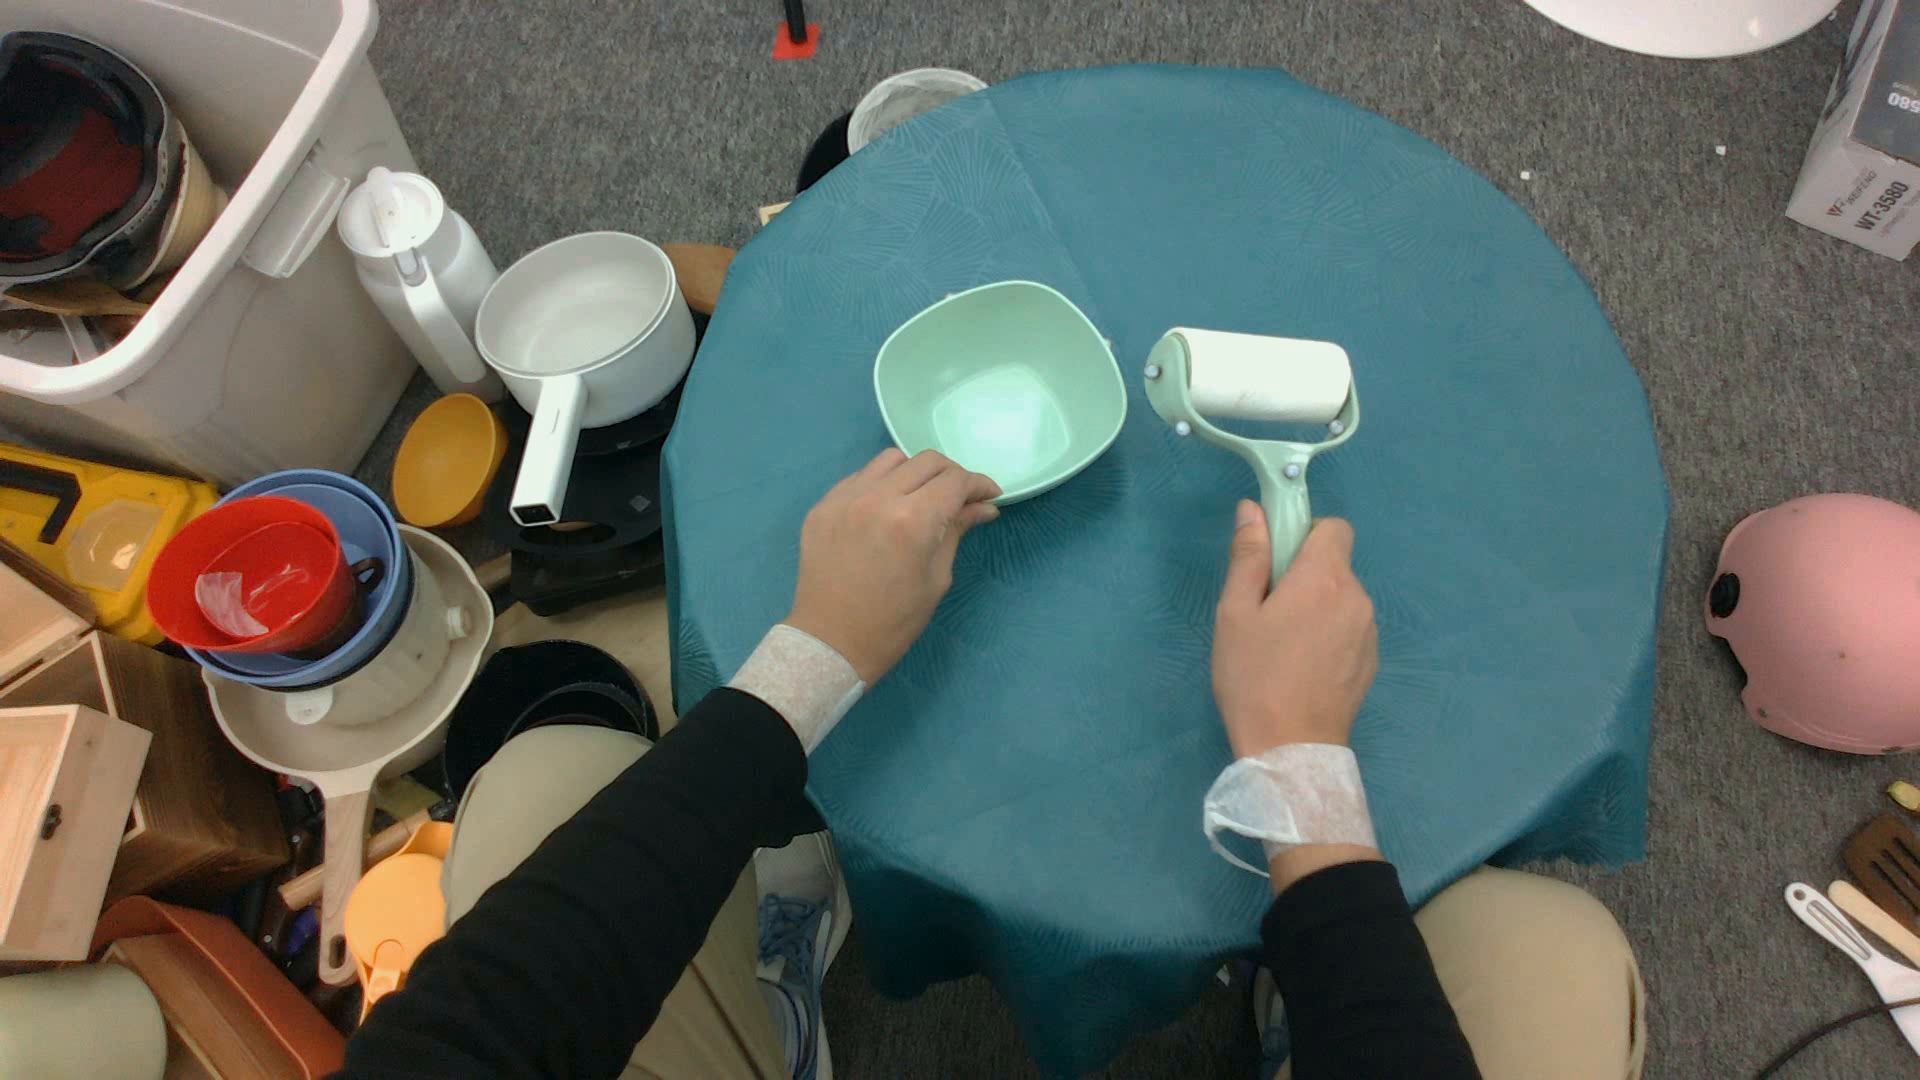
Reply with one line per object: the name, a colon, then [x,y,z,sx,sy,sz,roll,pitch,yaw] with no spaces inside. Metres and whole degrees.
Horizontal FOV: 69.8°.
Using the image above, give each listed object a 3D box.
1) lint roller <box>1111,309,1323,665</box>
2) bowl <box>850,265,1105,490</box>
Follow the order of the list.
lint roller: [0.149,-0.032,0.746,0.117,0.048,0.198,2,71,-24]
bowl: [0.010,-0.087,0.823,0.151,0.058,0.152,0,65,1]
